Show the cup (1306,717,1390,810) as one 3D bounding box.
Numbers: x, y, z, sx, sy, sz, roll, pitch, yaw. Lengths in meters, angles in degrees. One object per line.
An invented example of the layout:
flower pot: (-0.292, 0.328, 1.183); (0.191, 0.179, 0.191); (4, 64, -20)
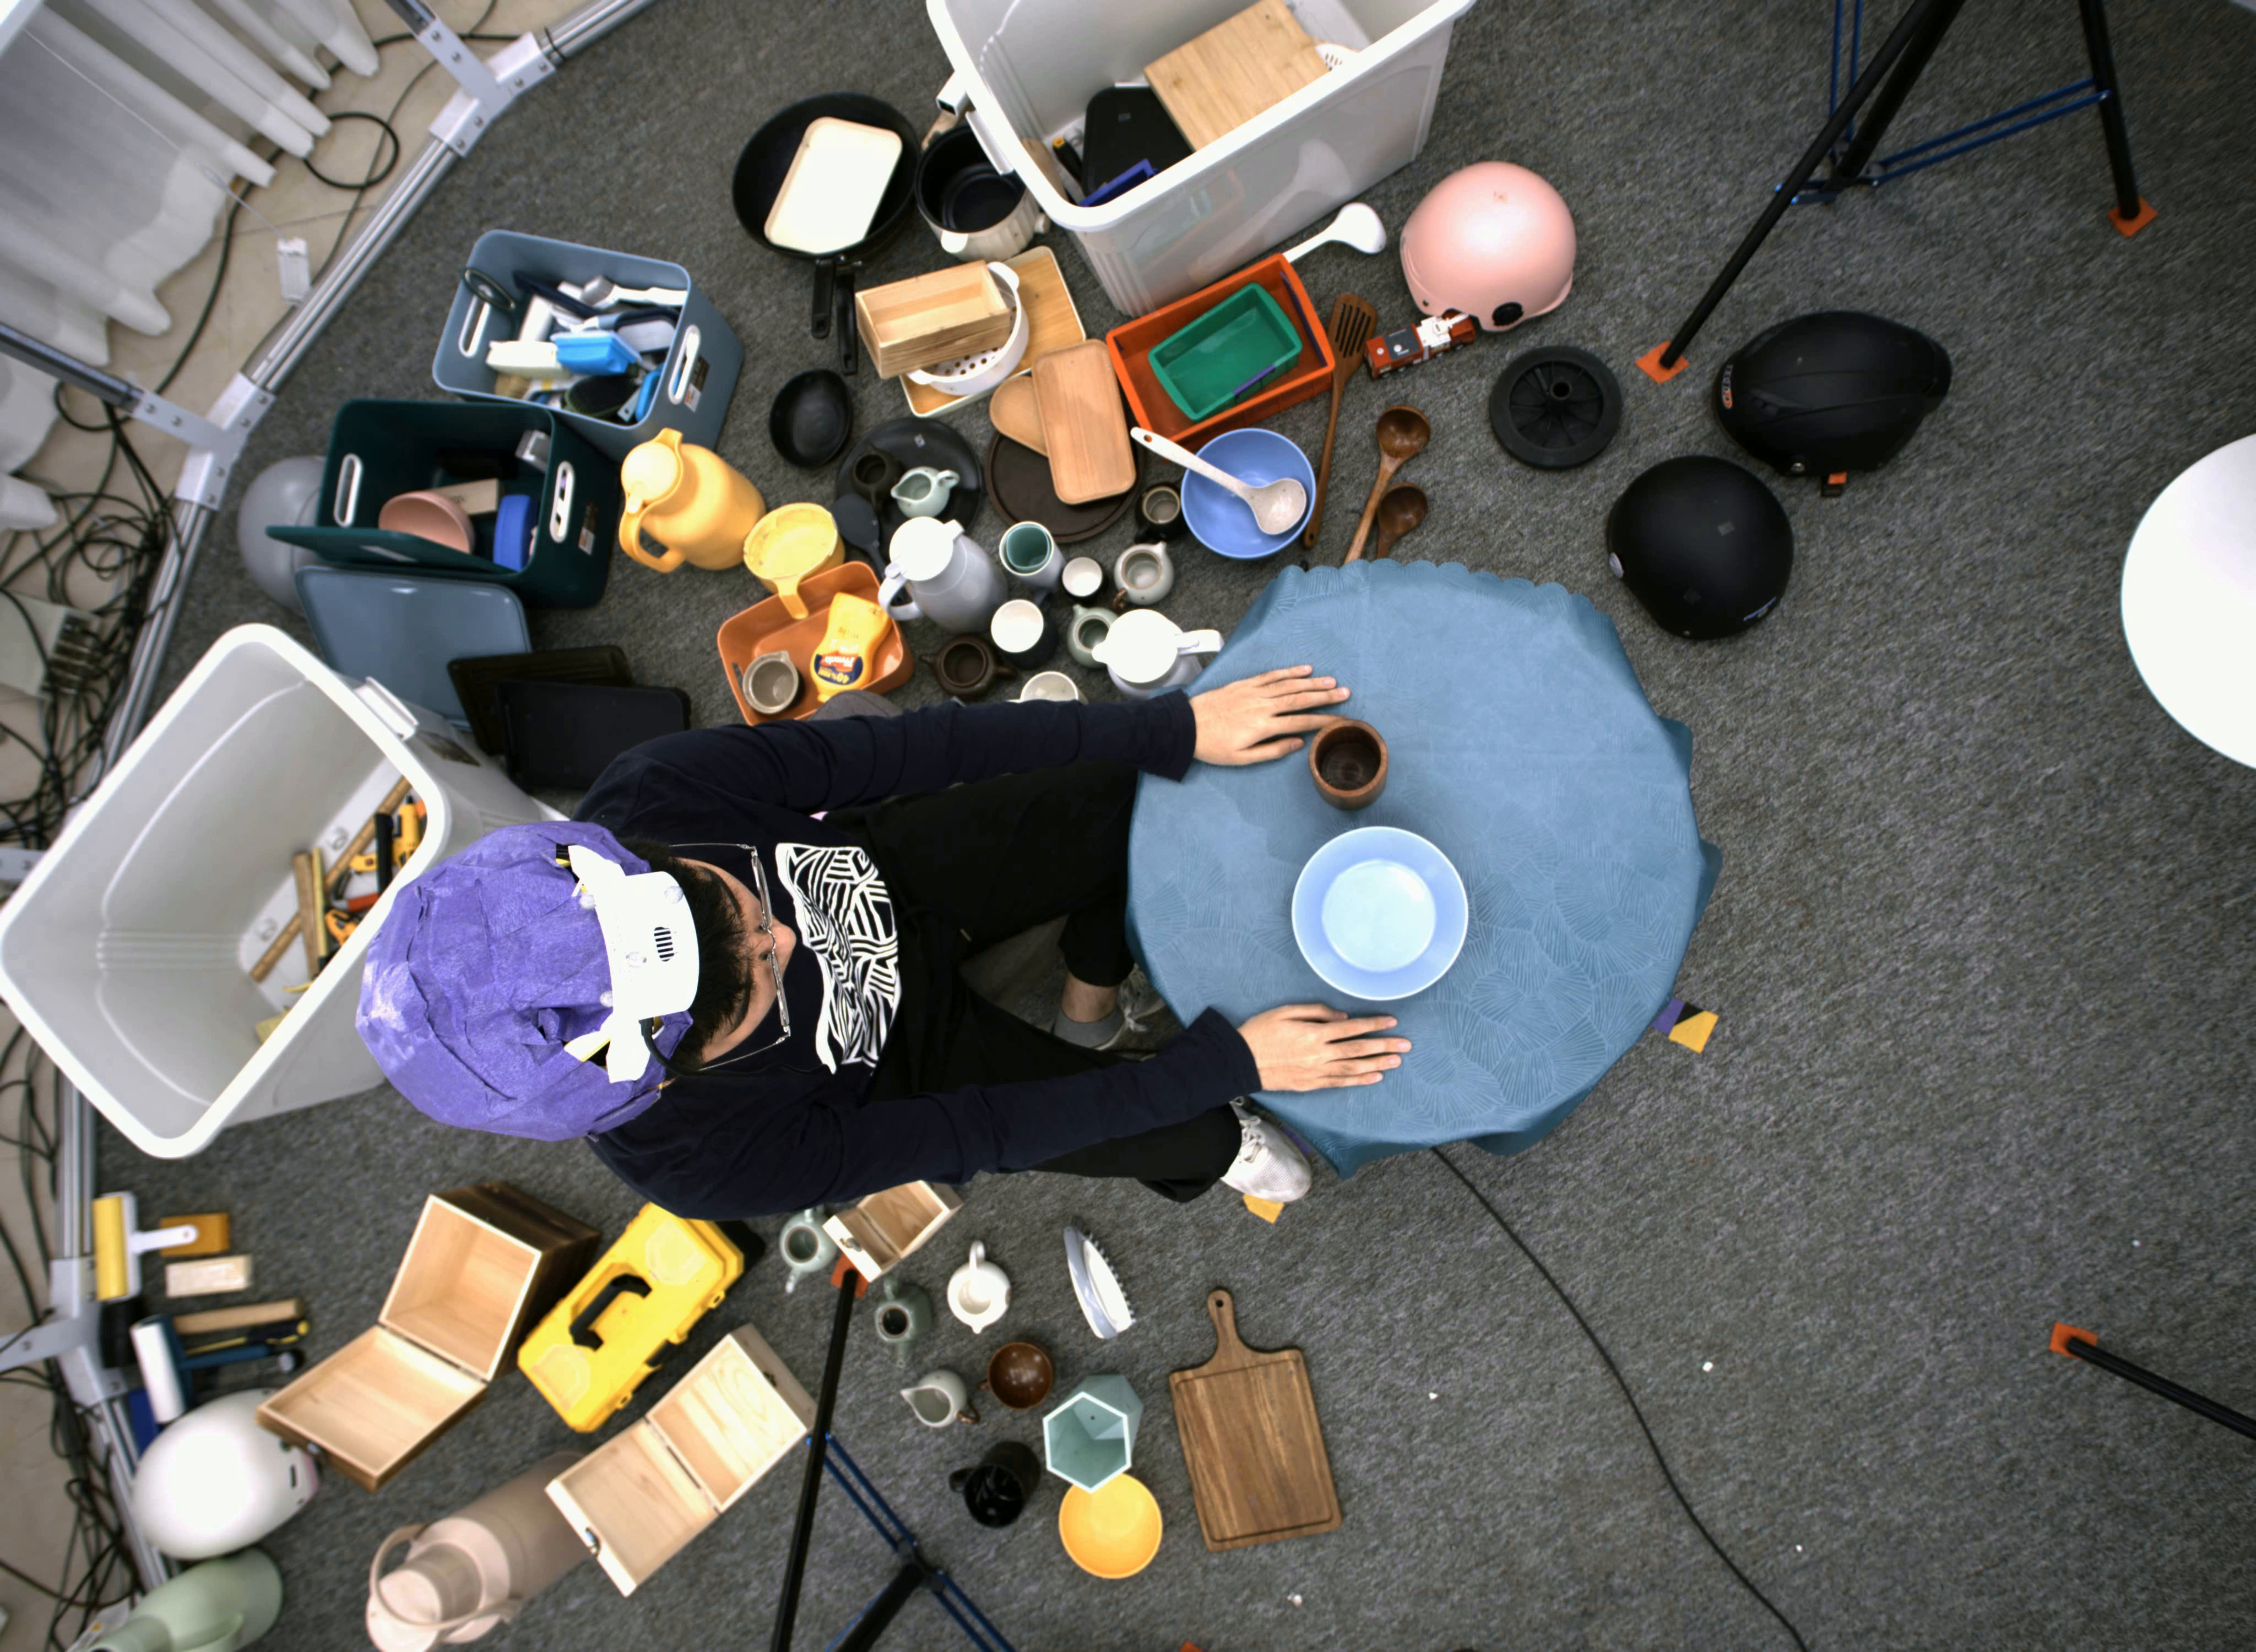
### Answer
cup: (0.228, -0.062, 1.414); (0.088, 0.118, 0.087); (-1, 85, 12)

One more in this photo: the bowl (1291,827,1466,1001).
bowl: (0.258, 0.090, 1.425); (0.177, 0.070, 0.175); (-1, 86, 11)
